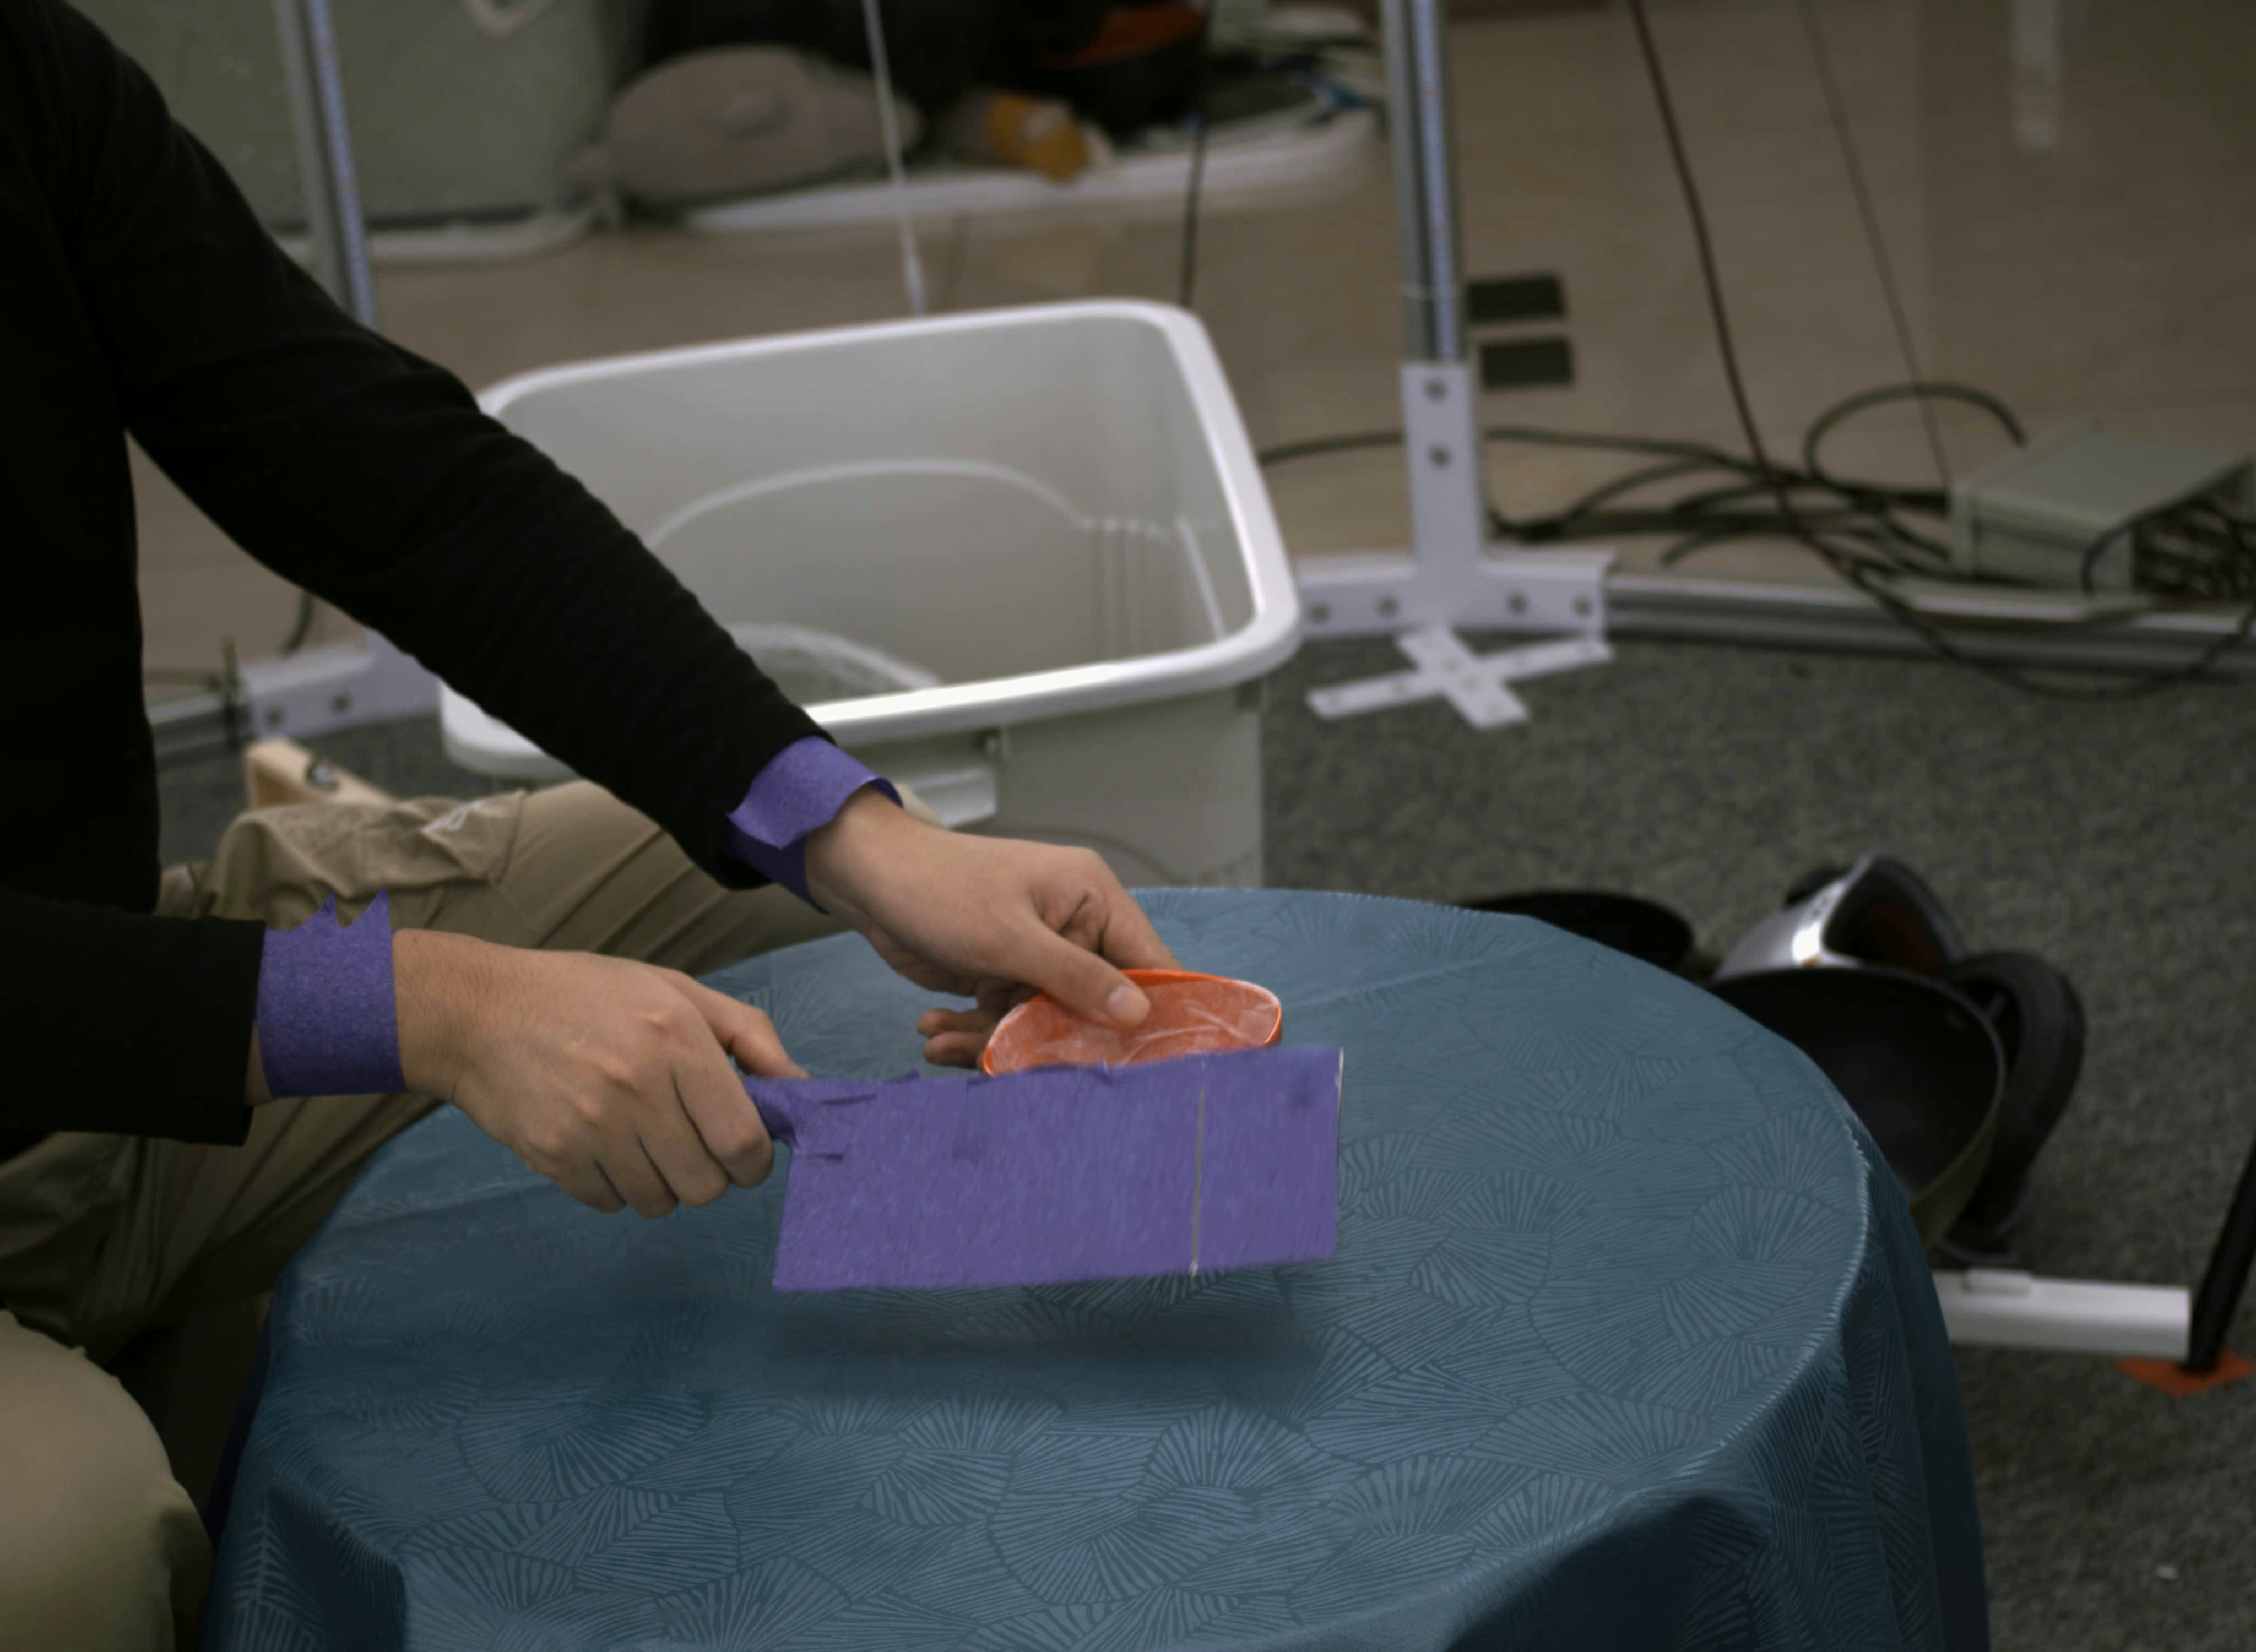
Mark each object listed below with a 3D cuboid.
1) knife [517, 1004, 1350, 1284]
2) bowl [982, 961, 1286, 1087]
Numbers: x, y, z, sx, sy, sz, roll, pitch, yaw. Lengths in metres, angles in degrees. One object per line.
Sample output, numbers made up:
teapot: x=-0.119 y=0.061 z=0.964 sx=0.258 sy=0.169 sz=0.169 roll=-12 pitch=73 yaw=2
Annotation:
knife: x=-0.074 y=0.120 z=2.045 sx=0.315 sy=0.033 sz=0.102 roll=-7 pitch=53 yaw=15
bowl: x=0.004 y=0.099 z=2.167 sx=0.119 sy=0.052 sz=0.117 roll=-3 pitch=26 yaw=2
